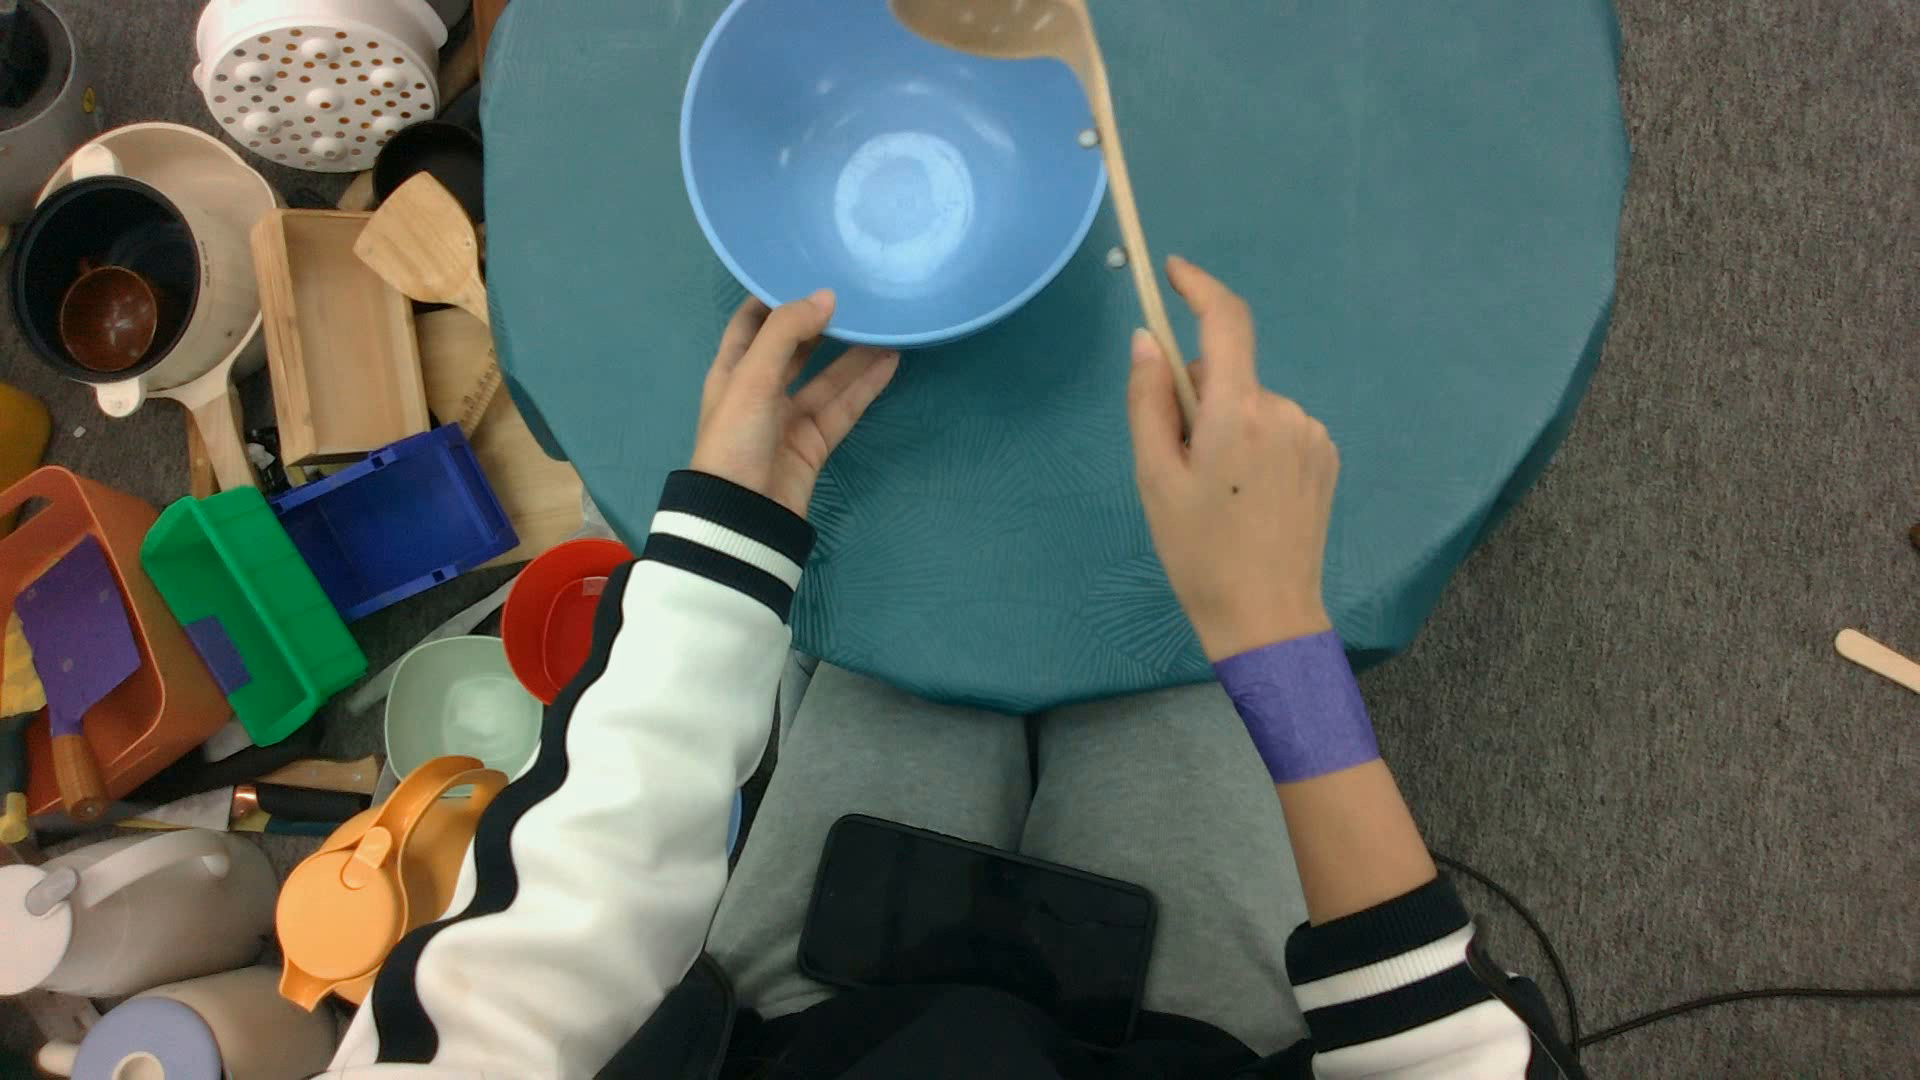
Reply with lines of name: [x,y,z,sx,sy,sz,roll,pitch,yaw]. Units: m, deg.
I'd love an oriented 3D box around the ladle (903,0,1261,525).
ladle: [0.045,-0.117,0.531,0.073,0.072,0.254,-17,89,-18]

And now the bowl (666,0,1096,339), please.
bowl: [-0.036,-0.183,0.672,0.196,0.095,0.197,0,82,-1]
